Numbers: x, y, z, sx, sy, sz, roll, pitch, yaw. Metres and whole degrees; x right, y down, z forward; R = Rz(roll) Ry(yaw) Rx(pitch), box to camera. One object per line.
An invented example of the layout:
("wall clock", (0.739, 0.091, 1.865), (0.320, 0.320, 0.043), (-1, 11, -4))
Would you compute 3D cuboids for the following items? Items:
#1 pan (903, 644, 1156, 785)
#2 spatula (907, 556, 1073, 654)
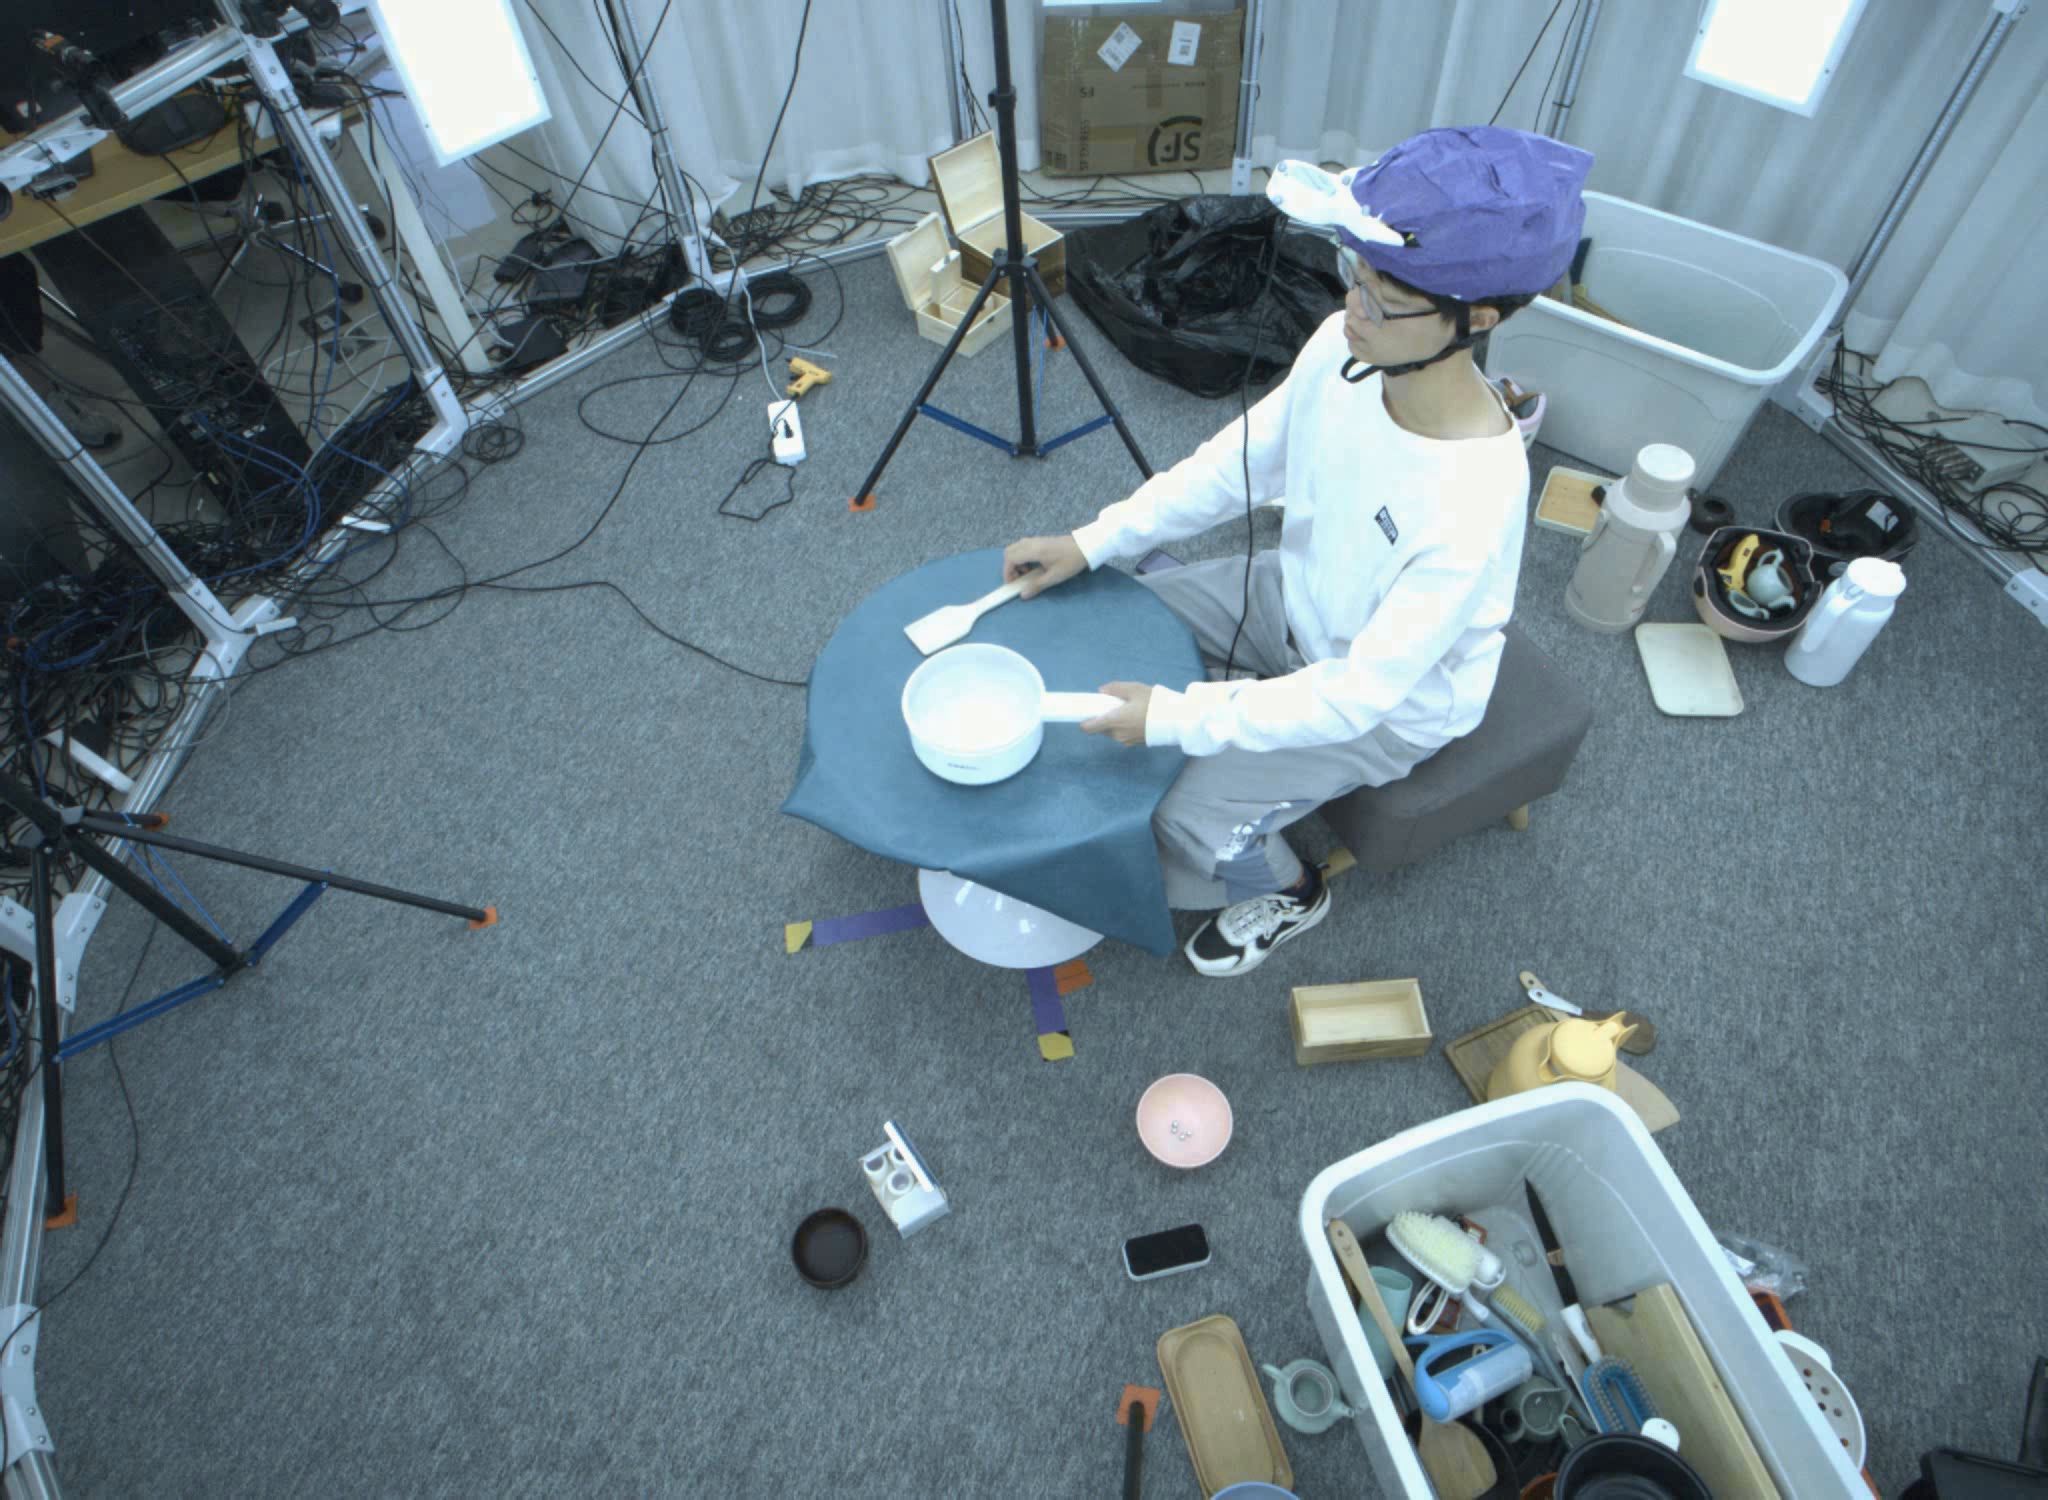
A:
("pan", (0.008, -0.043, 1.757), (0.355, 0.103, 0.199), (2, 53, 1))
("spatula", (-0.047, -0.239, 1.950), (0.295, 0.011, 0.071), (-31, 58, -17))
